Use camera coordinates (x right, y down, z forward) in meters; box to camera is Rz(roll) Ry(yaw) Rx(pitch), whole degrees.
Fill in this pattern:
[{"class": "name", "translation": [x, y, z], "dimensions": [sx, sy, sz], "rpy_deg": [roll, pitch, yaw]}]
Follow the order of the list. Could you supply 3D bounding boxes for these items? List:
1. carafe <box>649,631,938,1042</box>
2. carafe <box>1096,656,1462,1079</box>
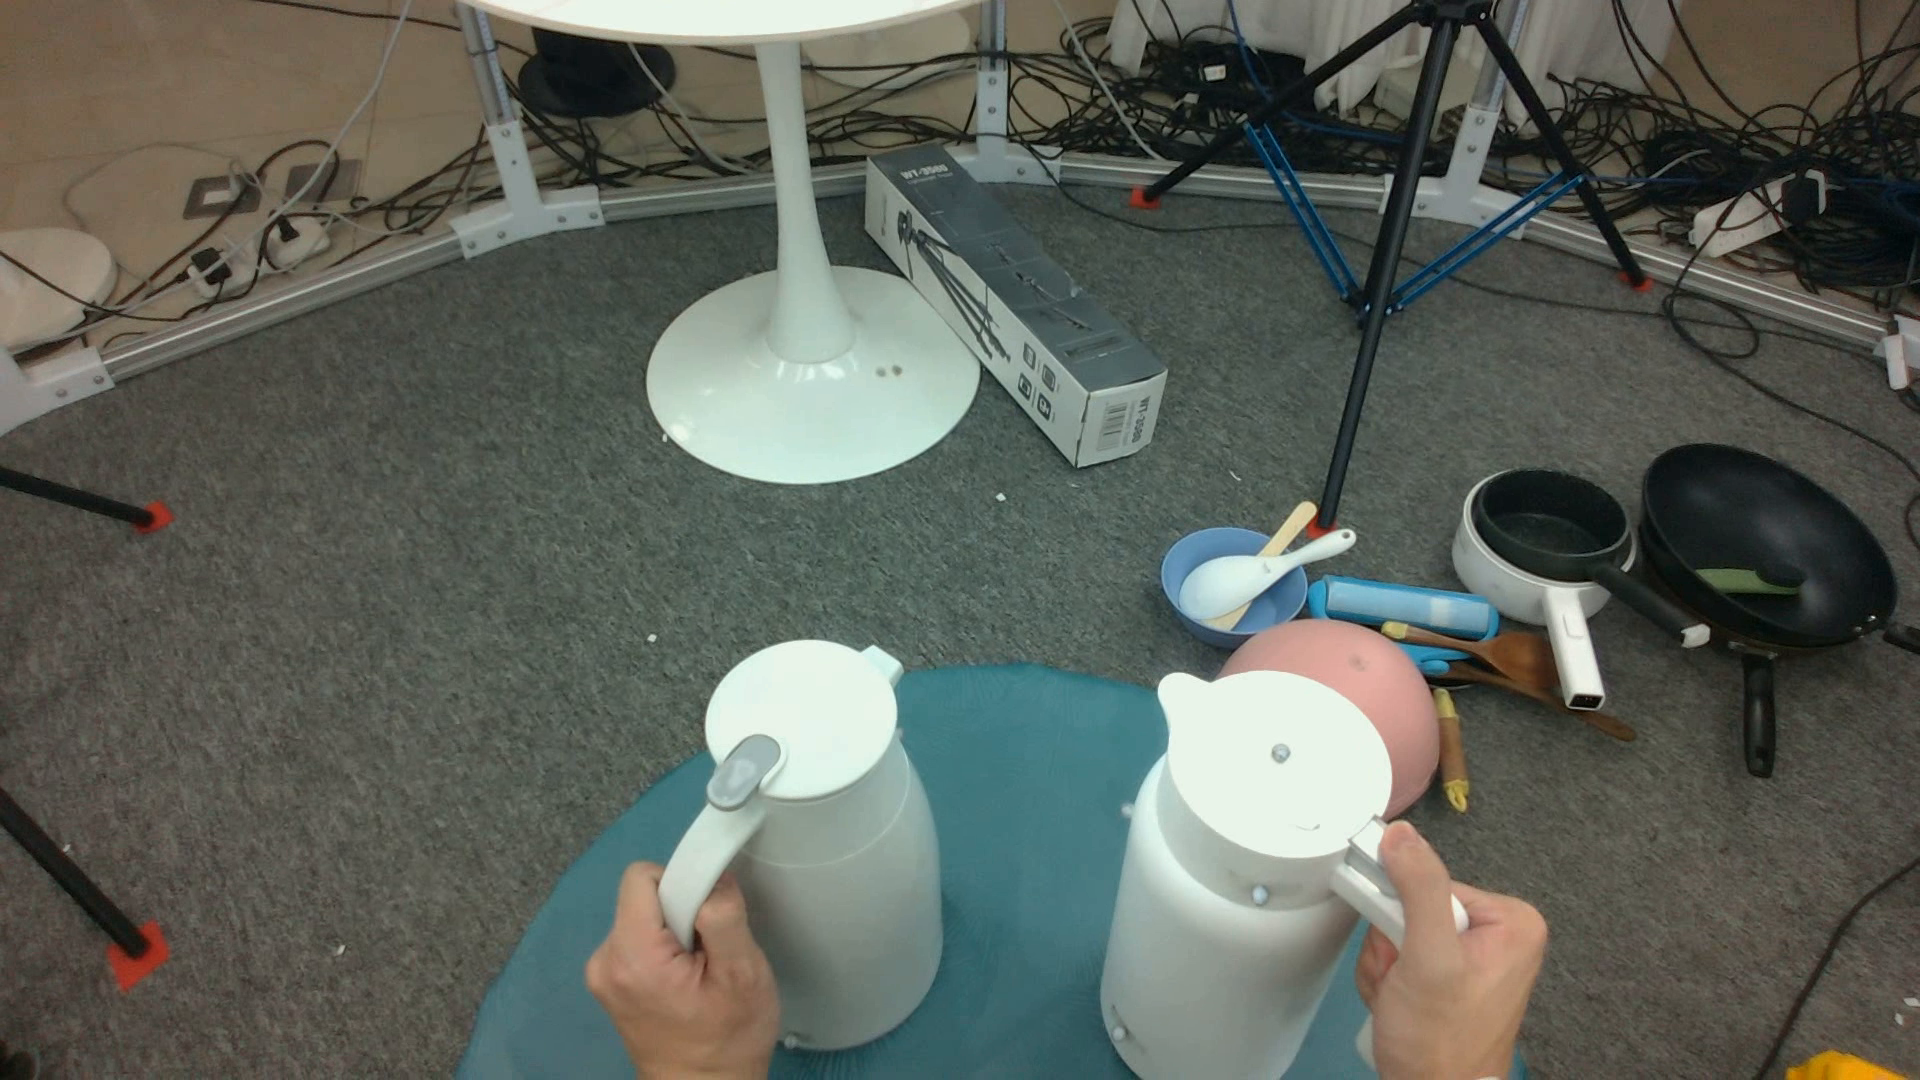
[{"class": "carafe", "translation": [-0.090, 0.168, 0.730], "dimensions": [0.132, 0.247, 0.168], "rpy_deg": [30, 55, 24]}, {"class": "carafe", "translation": [0.151, 0.189, 0.702], "dimensions": [0.124, 0.267, 0.173], "rpy_deg": [-32, 56, -29]}]
